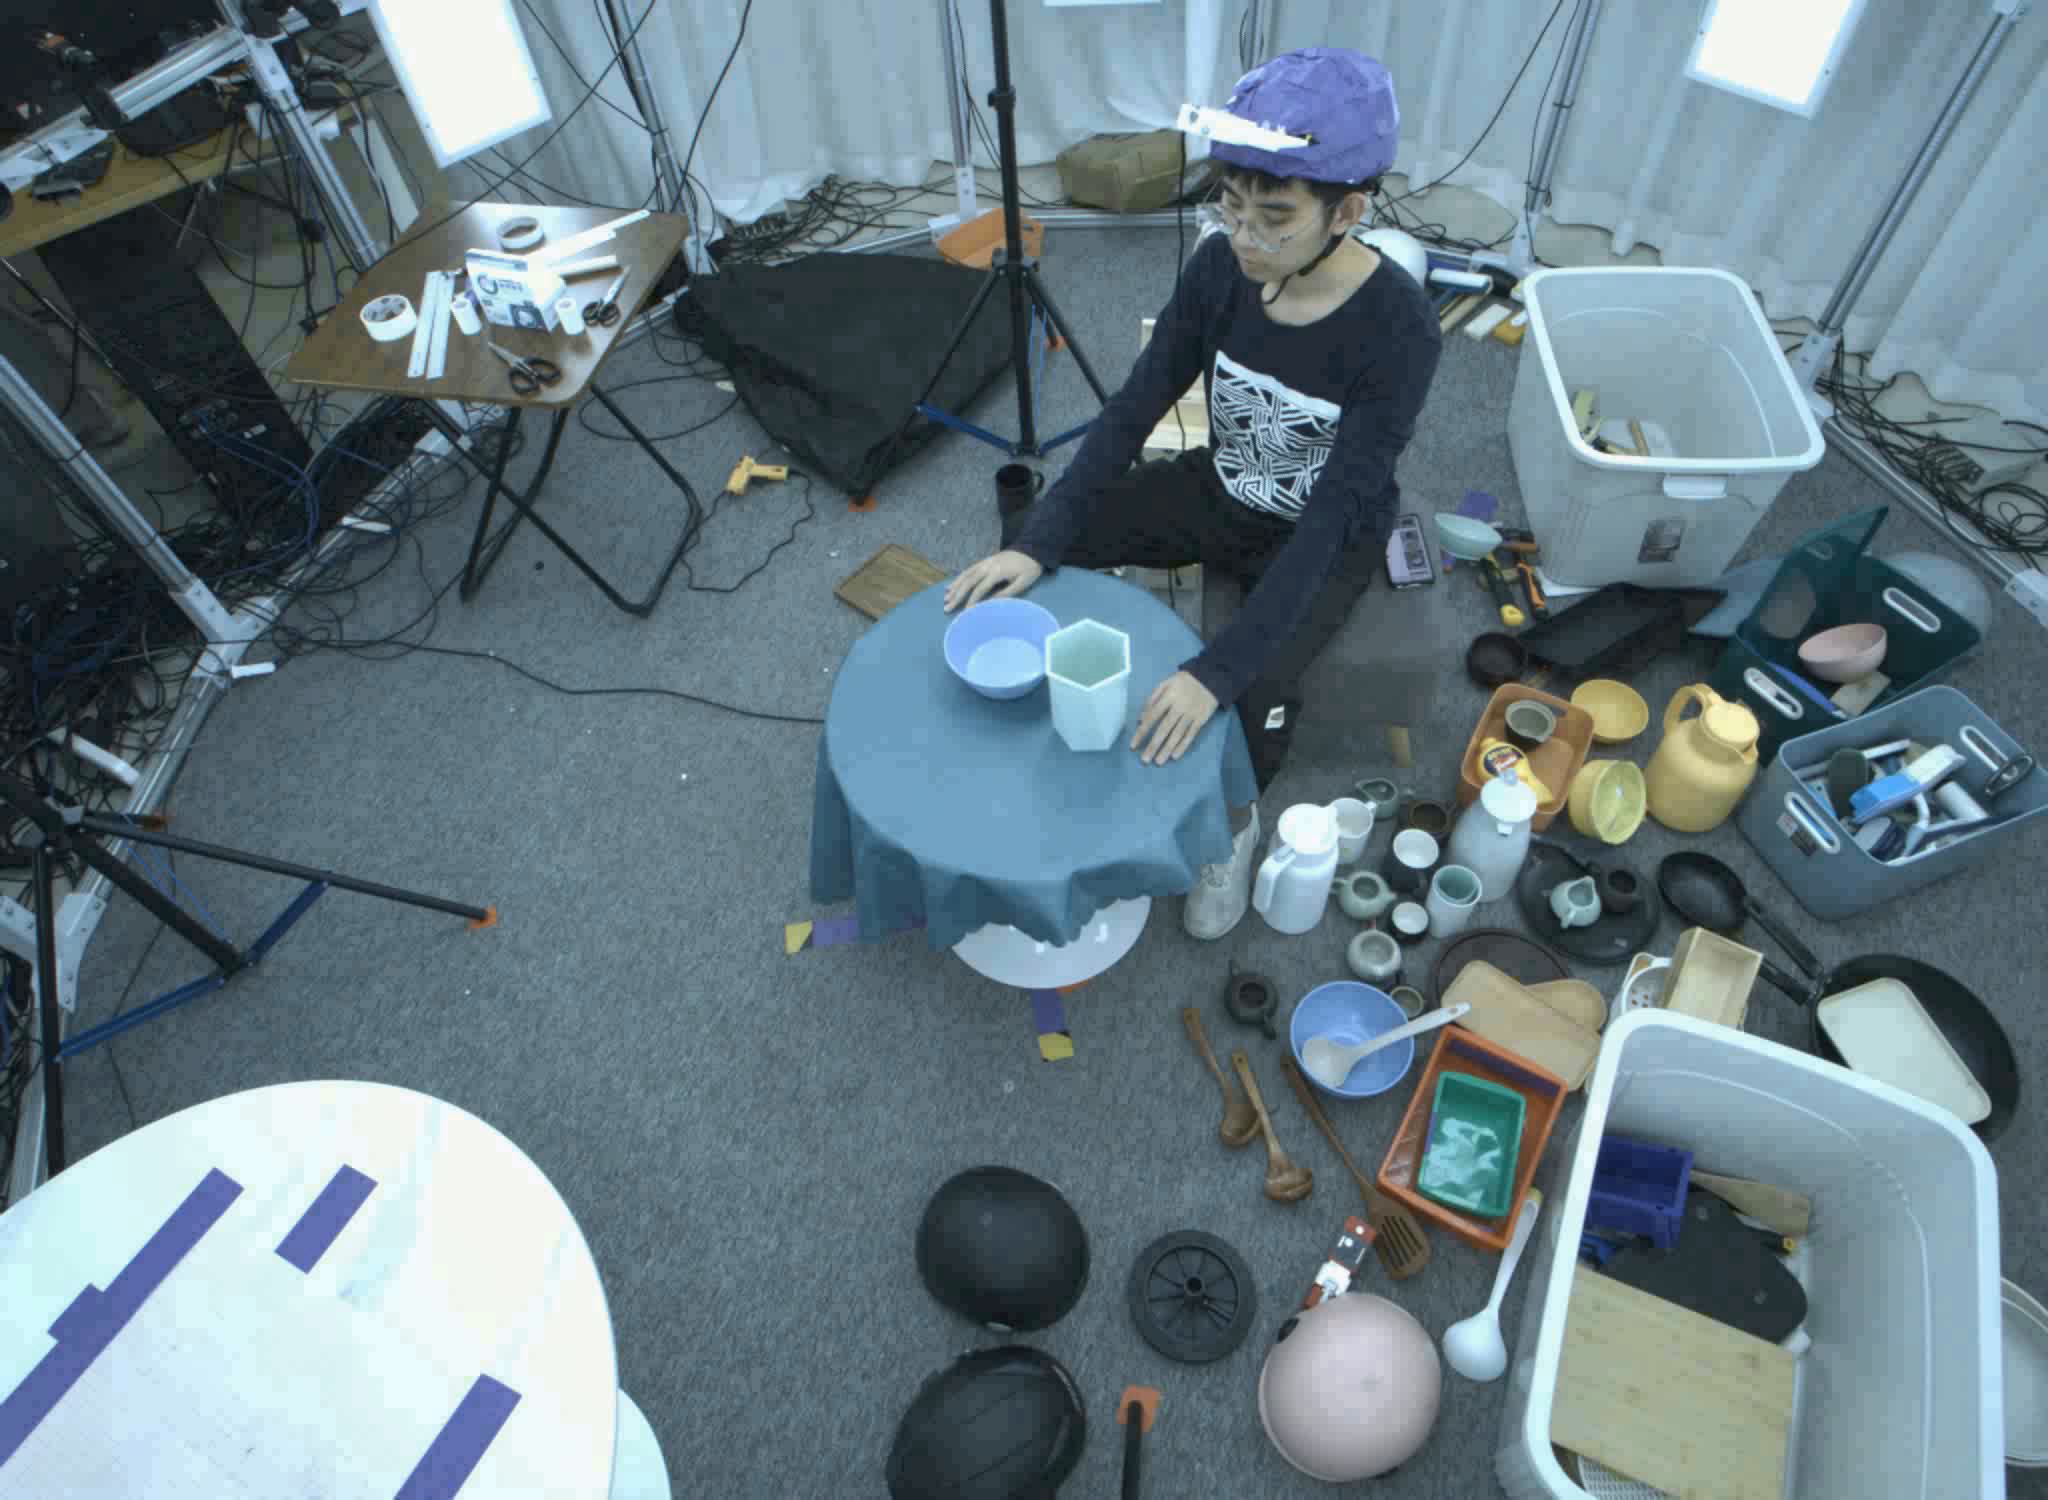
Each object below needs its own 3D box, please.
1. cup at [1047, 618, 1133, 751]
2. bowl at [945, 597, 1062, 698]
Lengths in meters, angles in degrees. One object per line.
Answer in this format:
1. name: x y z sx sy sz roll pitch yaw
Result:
1. cup: 0.092 -0.083 1.735 0.129 0.164 0.115 22 57 17
2. bowl: -0.028 -0.143 1.839 0.176 0.071 0.174 0 54 2
